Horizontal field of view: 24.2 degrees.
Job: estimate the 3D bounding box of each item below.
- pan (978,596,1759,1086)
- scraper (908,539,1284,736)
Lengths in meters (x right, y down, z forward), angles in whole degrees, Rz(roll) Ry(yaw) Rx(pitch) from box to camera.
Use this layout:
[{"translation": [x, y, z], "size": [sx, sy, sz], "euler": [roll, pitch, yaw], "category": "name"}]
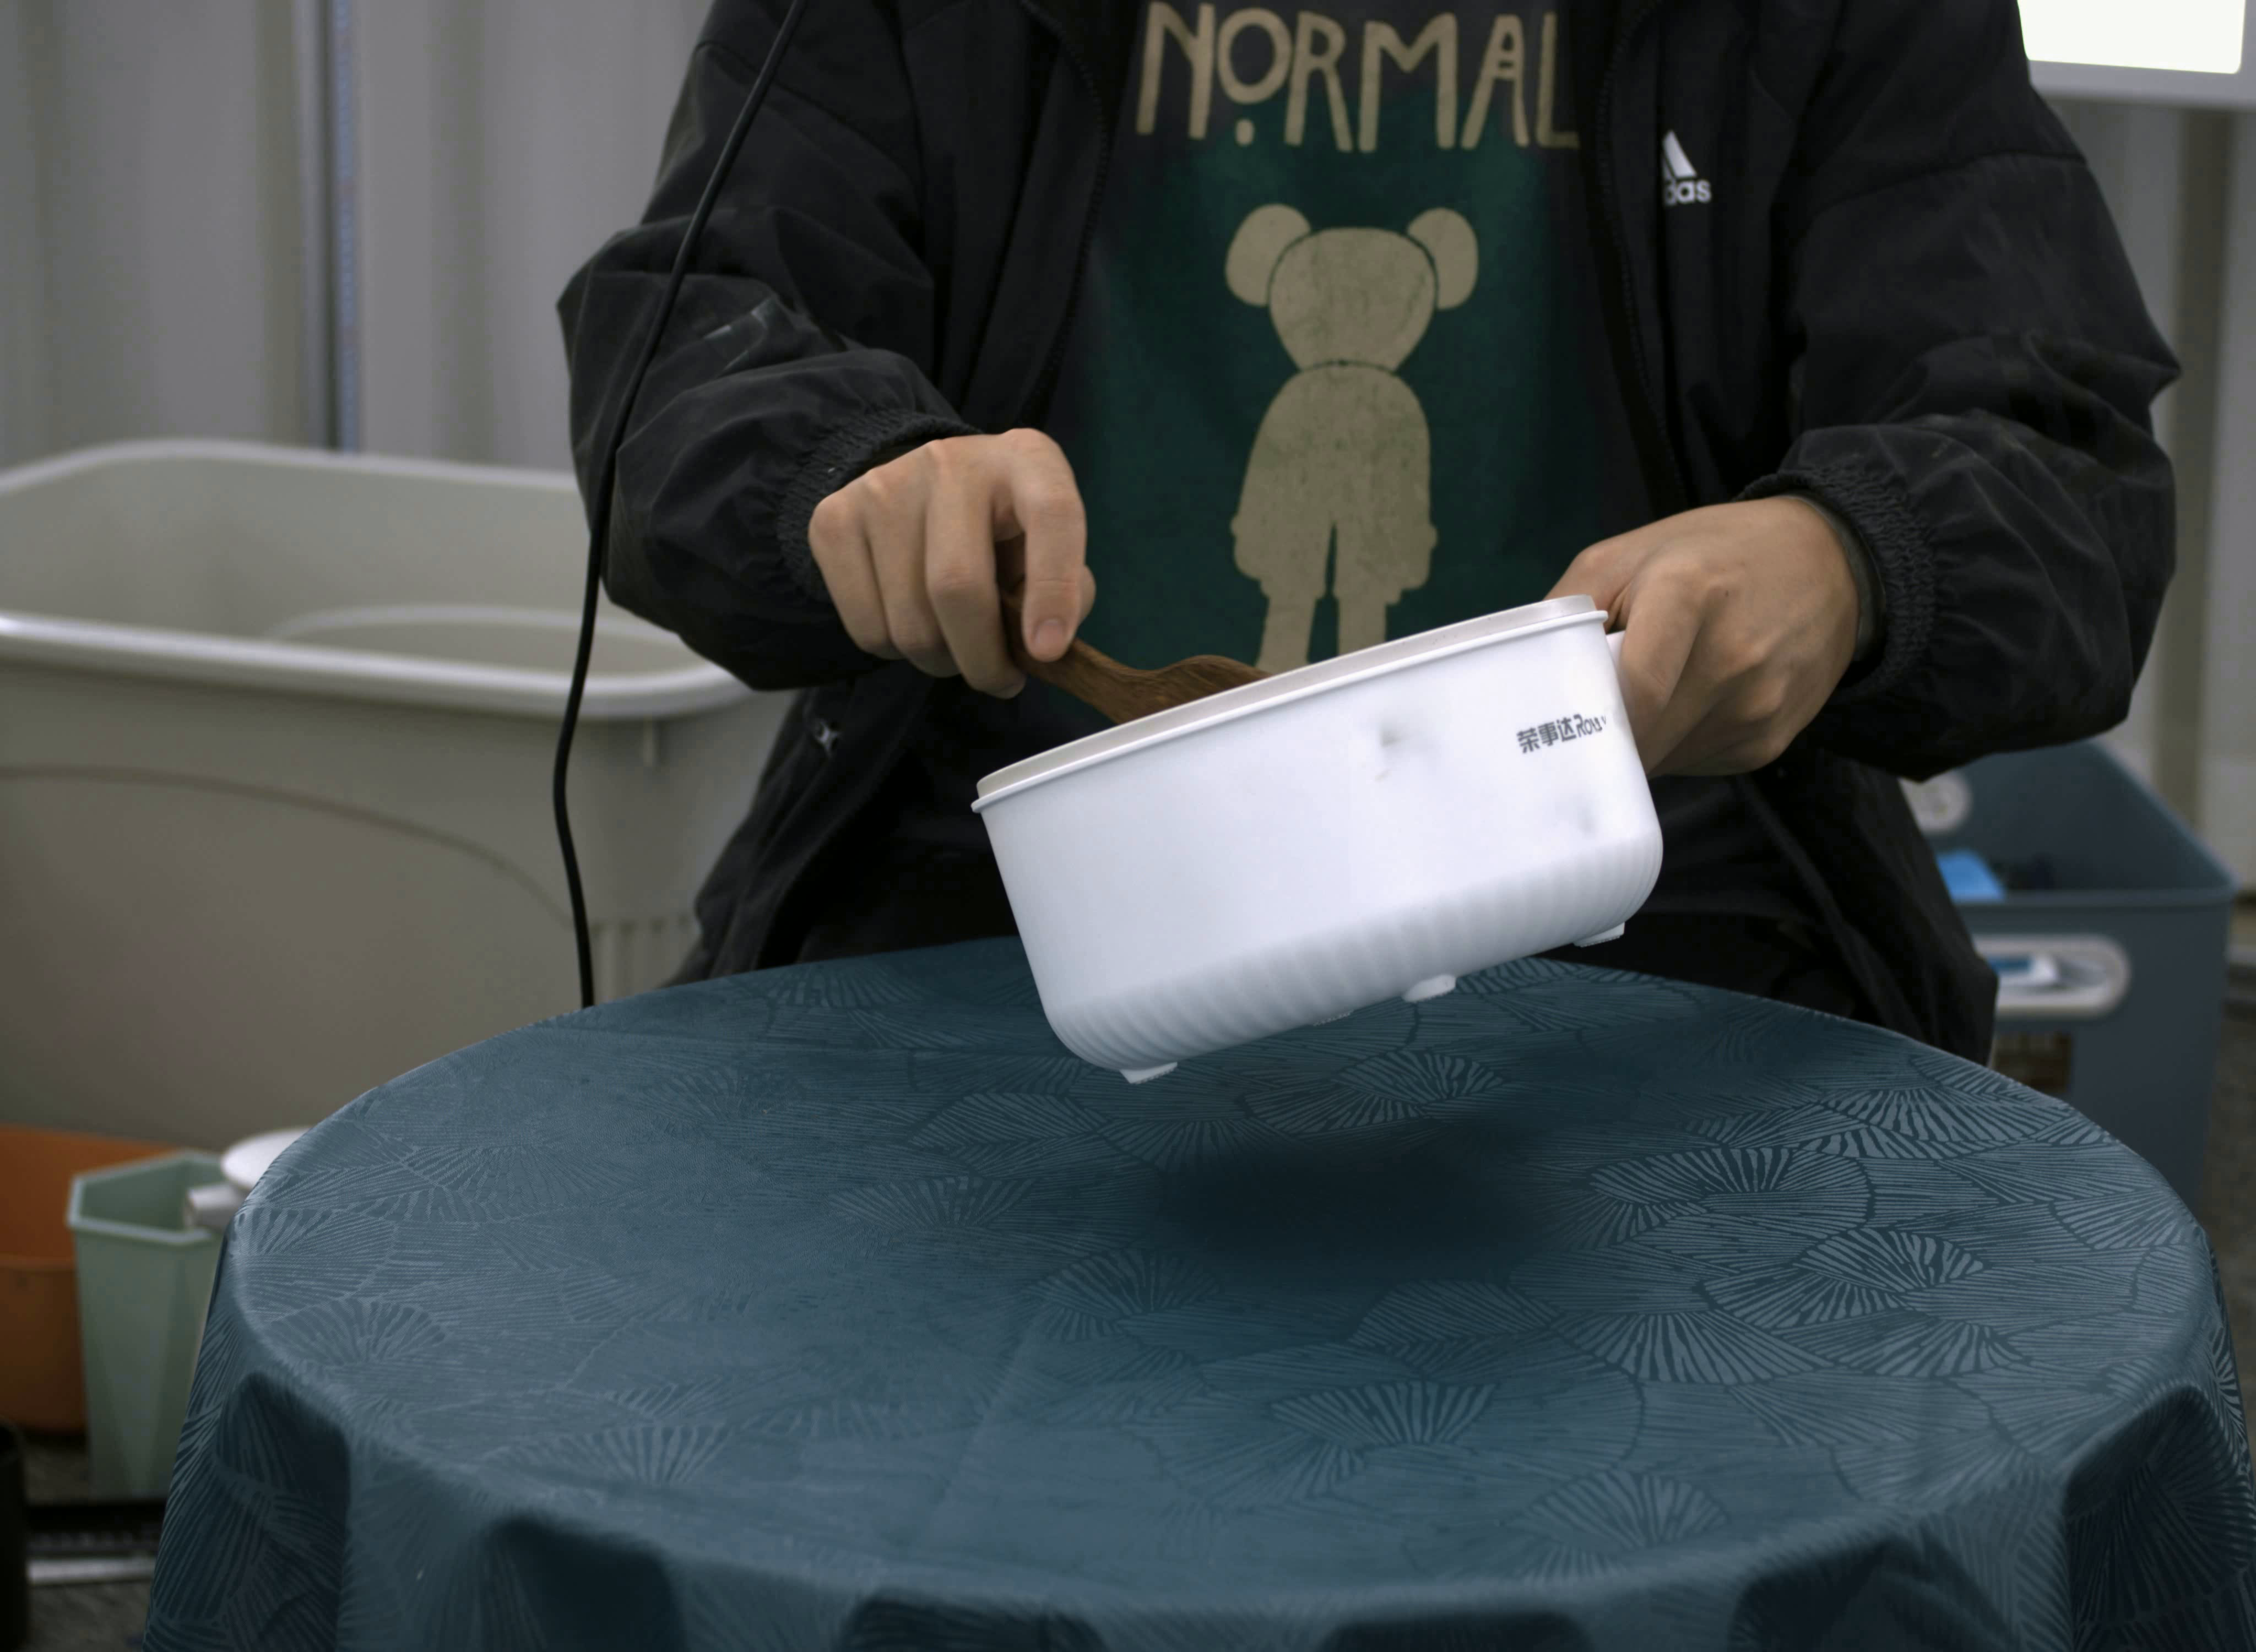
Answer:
[{"translation": [0.106, -0.001, 1.652], "size": [0.200, 0.102, 0.357], "euler": [-19, -4, 34], "category": "pan"}, {"translation": [-0.012, -0.046, 1.651], "size": [0.011, 0.077, 0.208], "euler": [-21, 32, -29], "category": "scraper"}]
